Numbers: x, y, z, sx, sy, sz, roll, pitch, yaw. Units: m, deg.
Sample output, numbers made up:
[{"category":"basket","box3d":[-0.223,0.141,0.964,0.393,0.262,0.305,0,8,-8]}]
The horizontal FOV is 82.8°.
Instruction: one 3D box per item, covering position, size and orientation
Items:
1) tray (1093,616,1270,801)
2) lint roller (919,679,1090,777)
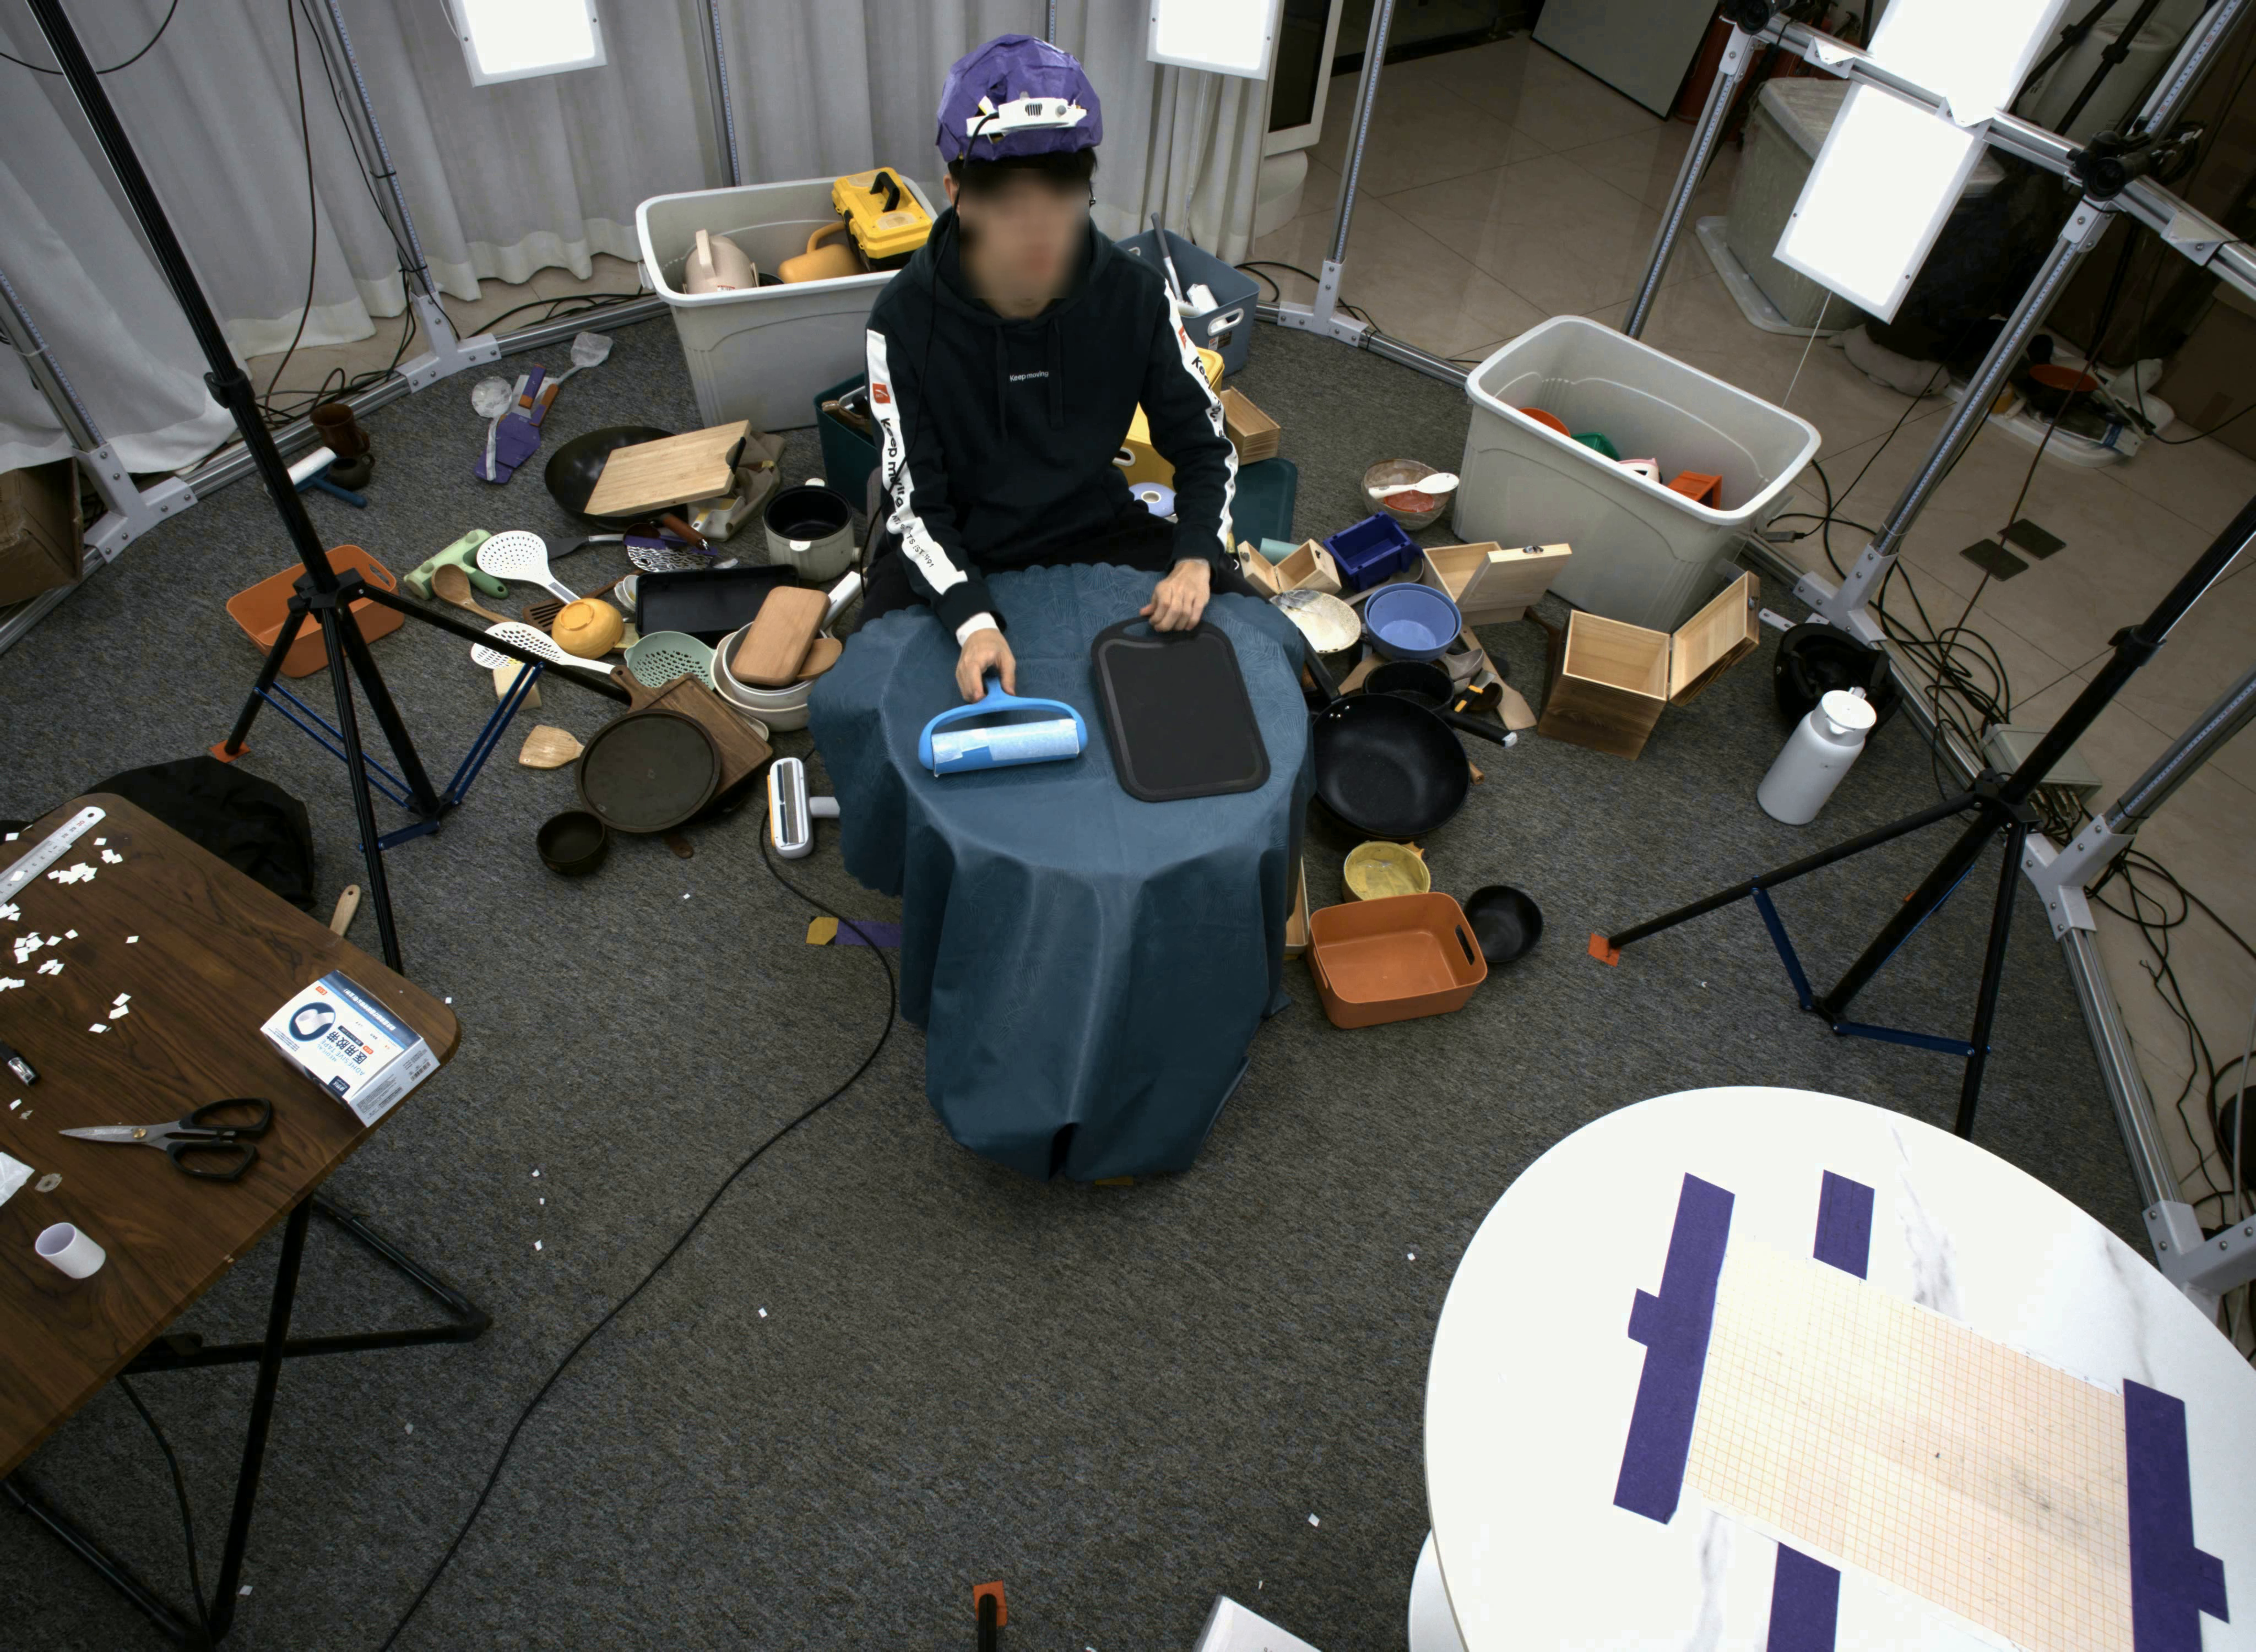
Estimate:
[{"category":"tray","box3d":[0.069,-0.174,1.798,0.211,0.009,0.333,-5,55,-10]},{"category":"lint roller","box3d":[-0.179,-0.152,1.751,0.229,0.066,0.185,-11,52,-10]}]
